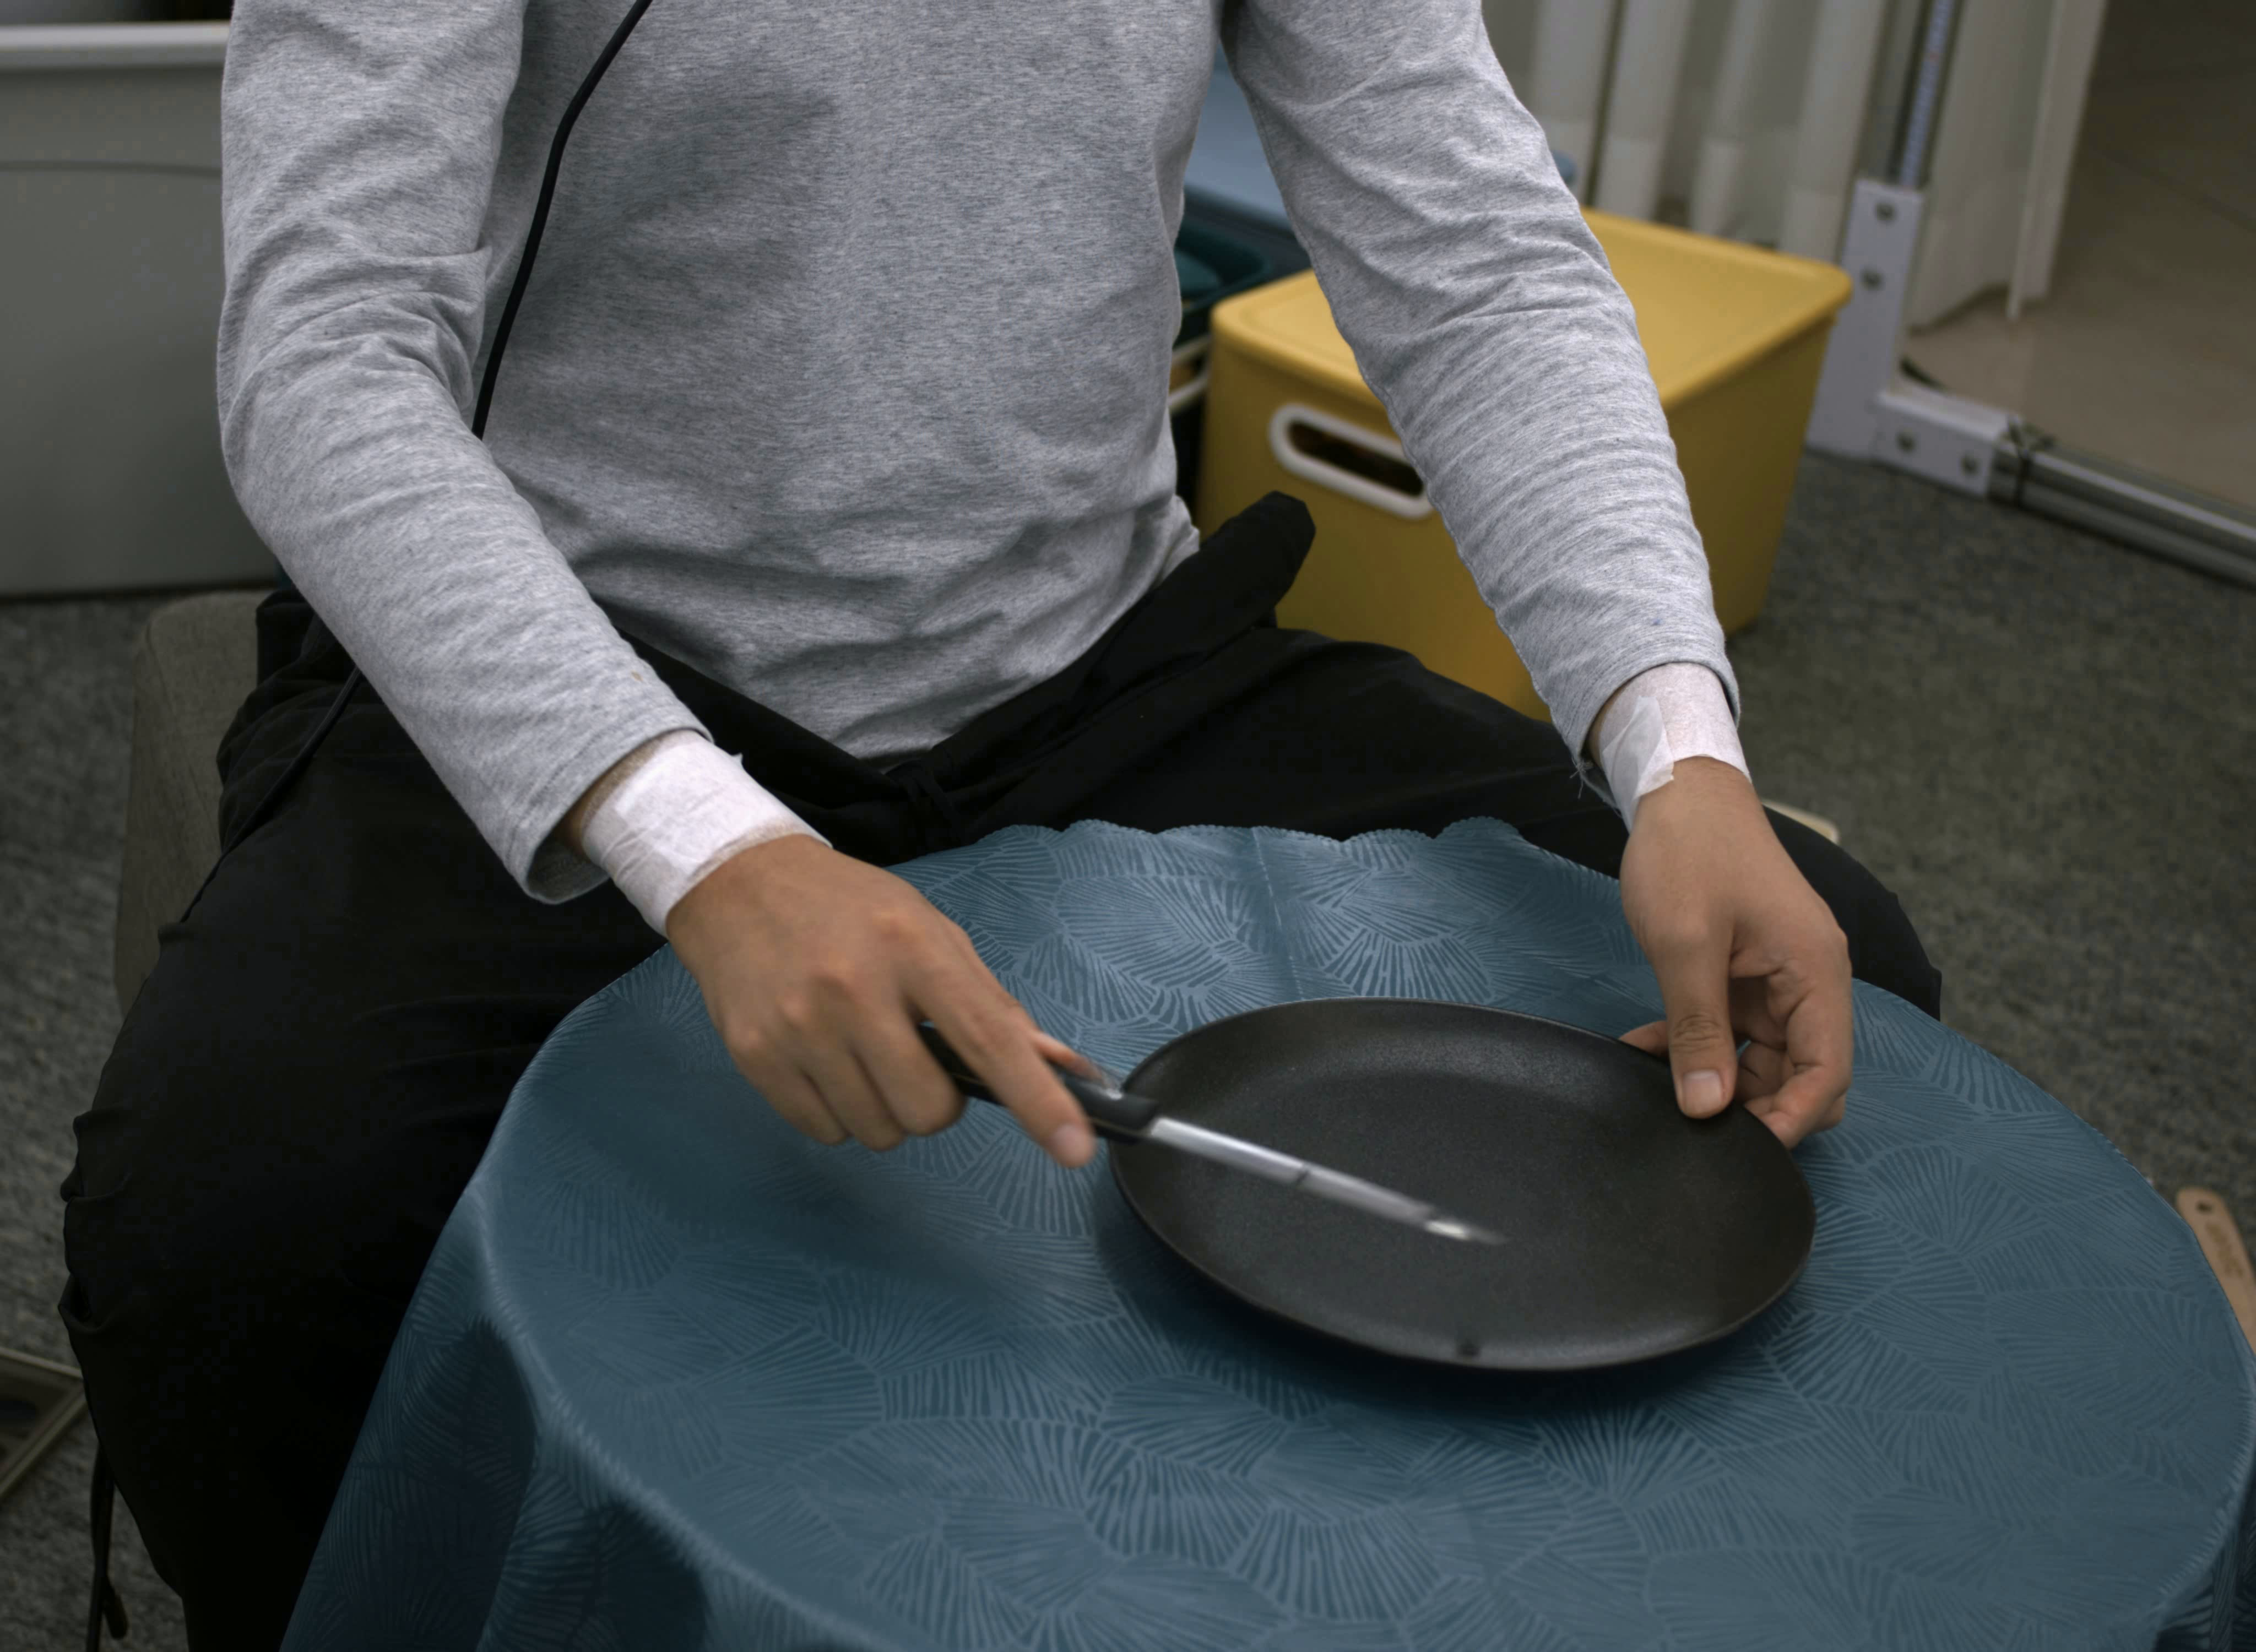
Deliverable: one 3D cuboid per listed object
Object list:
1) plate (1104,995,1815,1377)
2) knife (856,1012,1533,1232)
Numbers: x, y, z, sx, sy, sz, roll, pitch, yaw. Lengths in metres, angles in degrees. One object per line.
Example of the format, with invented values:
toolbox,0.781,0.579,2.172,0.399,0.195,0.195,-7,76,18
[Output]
plate,0.111,0.125,1.802,0.243,0.023,0.246,5,27,-3
knife,0.018,0.099,1.726,0.239,0.016,0.024,16,19,17
